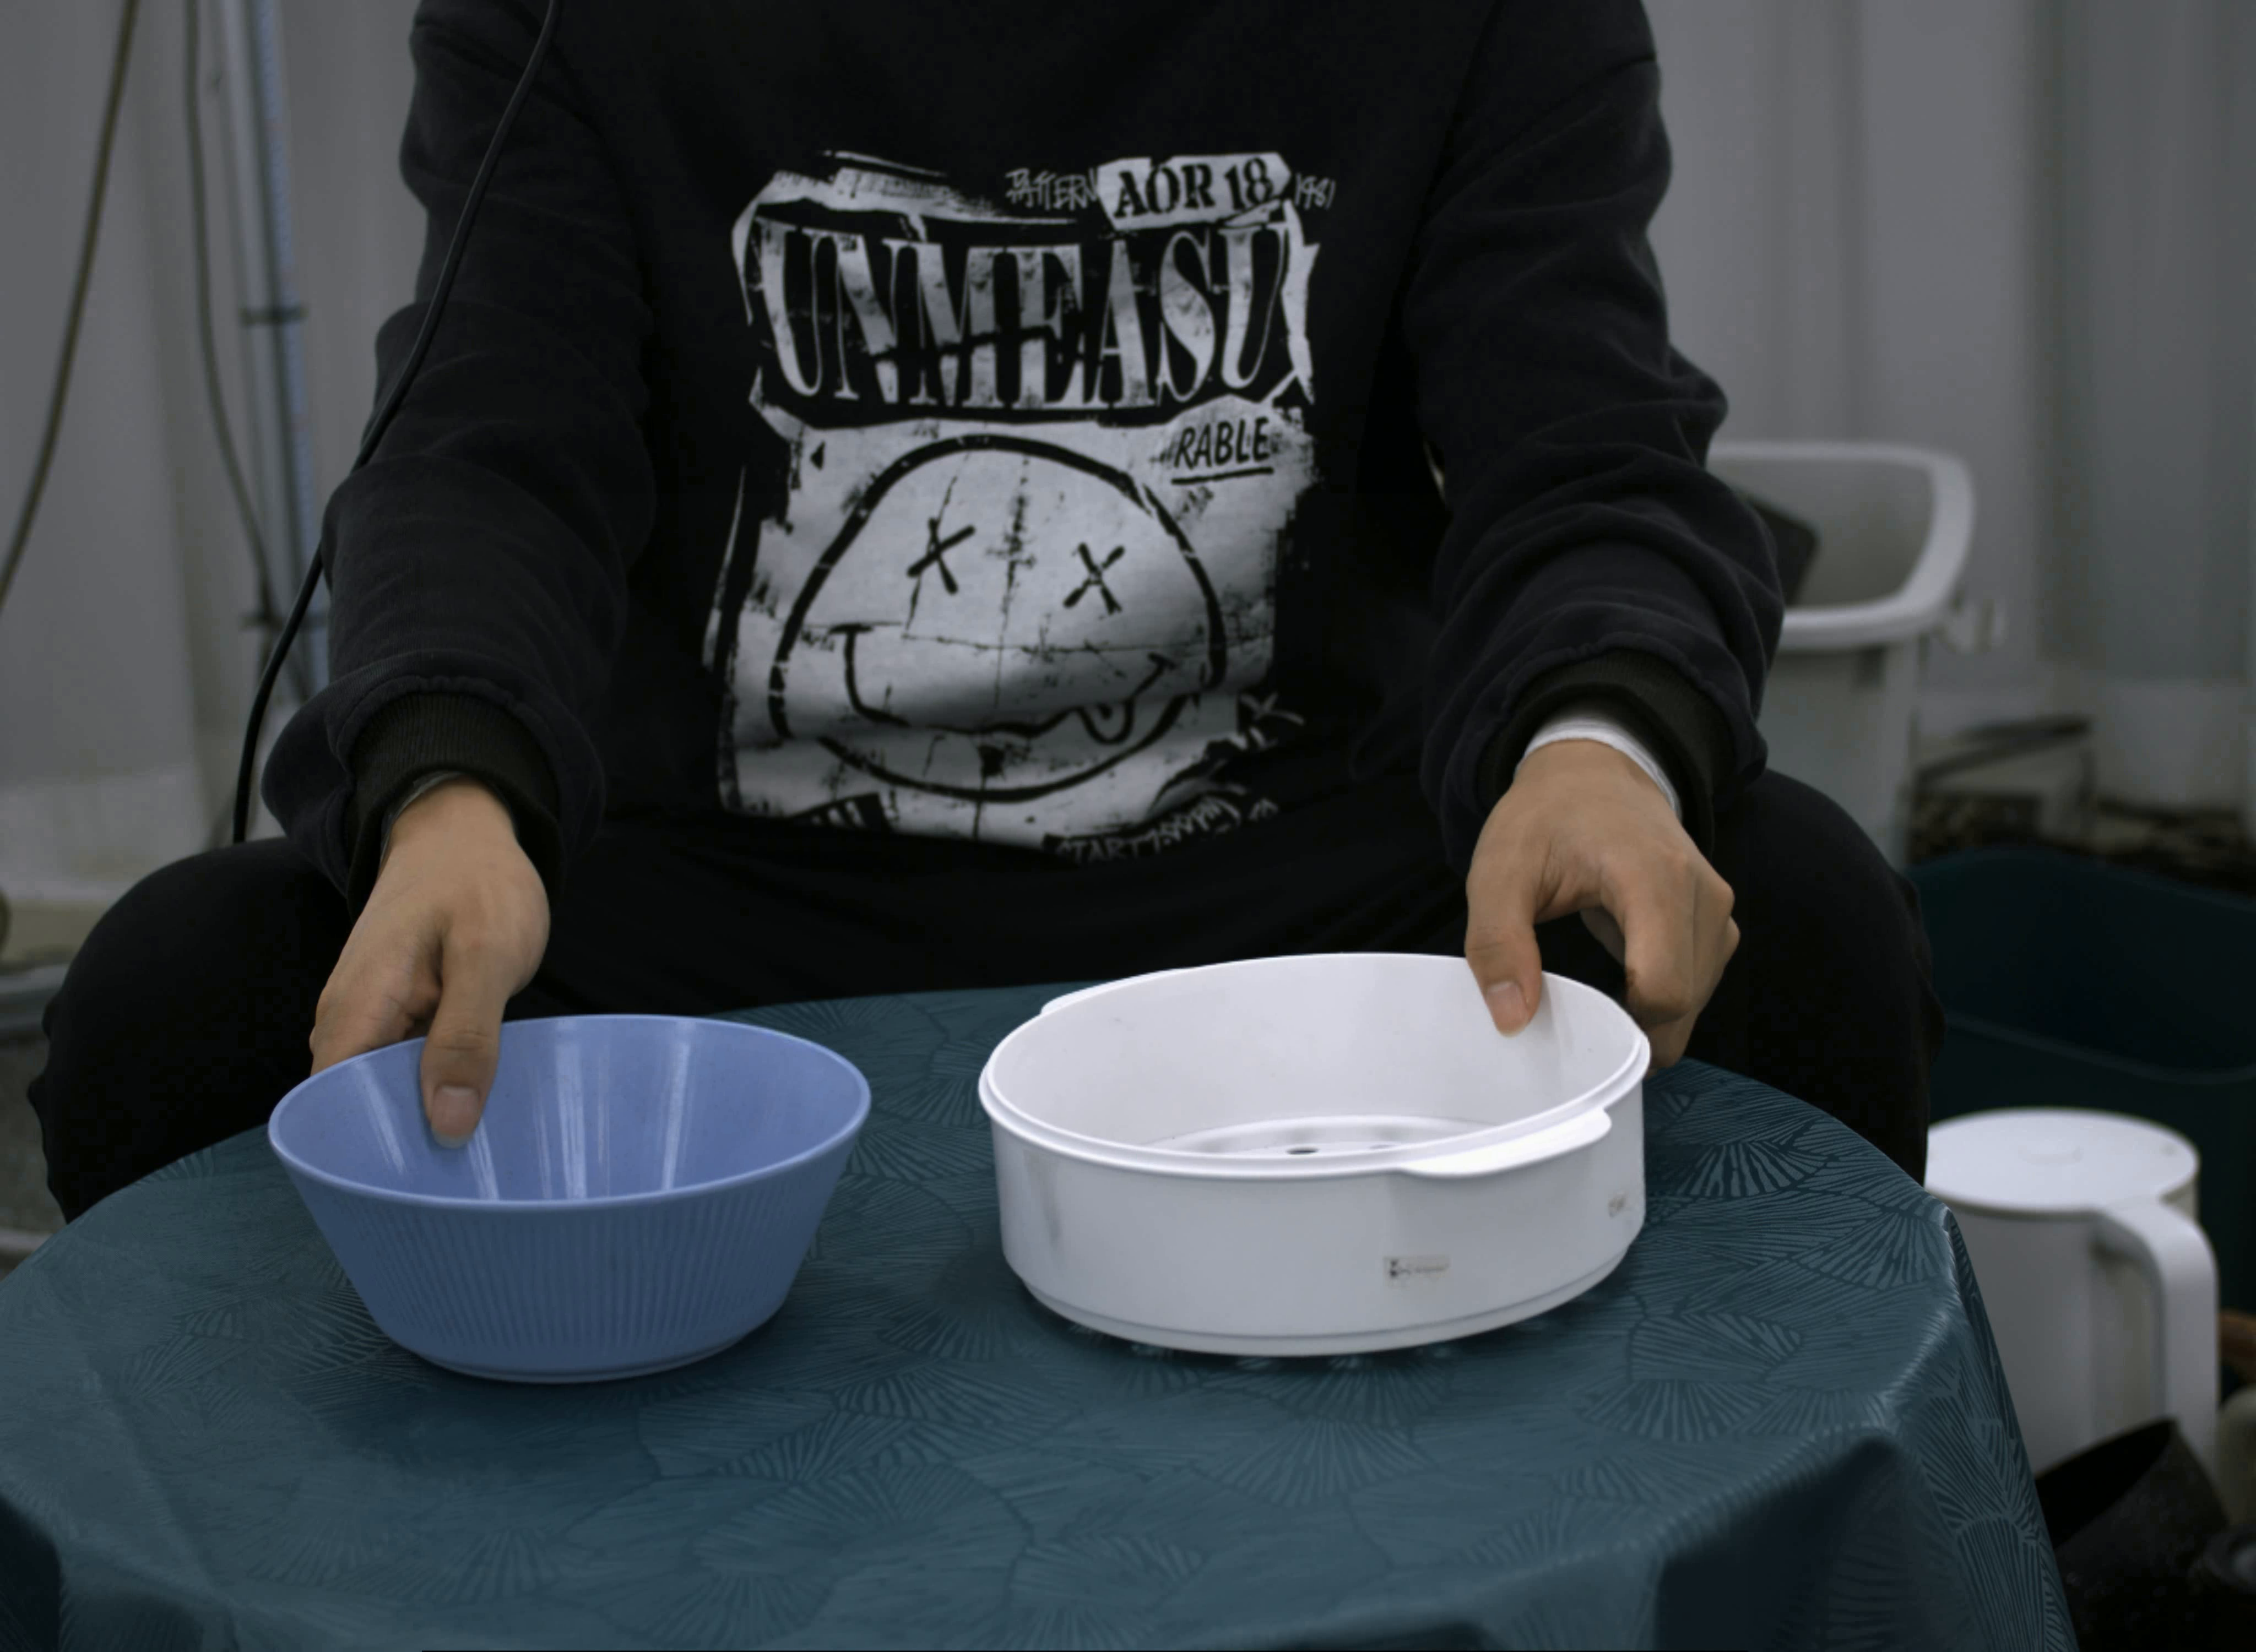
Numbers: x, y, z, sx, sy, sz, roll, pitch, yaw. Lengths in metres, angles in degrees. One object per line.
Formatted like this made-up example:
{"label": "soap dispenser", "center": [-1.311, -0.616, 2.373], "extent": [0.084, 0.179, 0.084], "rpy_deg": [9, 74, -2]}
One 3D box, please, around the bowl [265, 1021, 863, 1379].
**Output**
{"label": "bowl", "center": [-0.165, 0.113, 1.611], "extent": [0.175, 0.070, 0.177], "rpy_deg": [0, 14, 0]}

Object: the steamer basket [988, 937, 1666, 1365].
{"label": "steamer basket", "center": [0.060, 0.097, 1.629], "extent": [0.201, 0.069, 0.232], "rpy_deg": [-14, 21, -30]}
